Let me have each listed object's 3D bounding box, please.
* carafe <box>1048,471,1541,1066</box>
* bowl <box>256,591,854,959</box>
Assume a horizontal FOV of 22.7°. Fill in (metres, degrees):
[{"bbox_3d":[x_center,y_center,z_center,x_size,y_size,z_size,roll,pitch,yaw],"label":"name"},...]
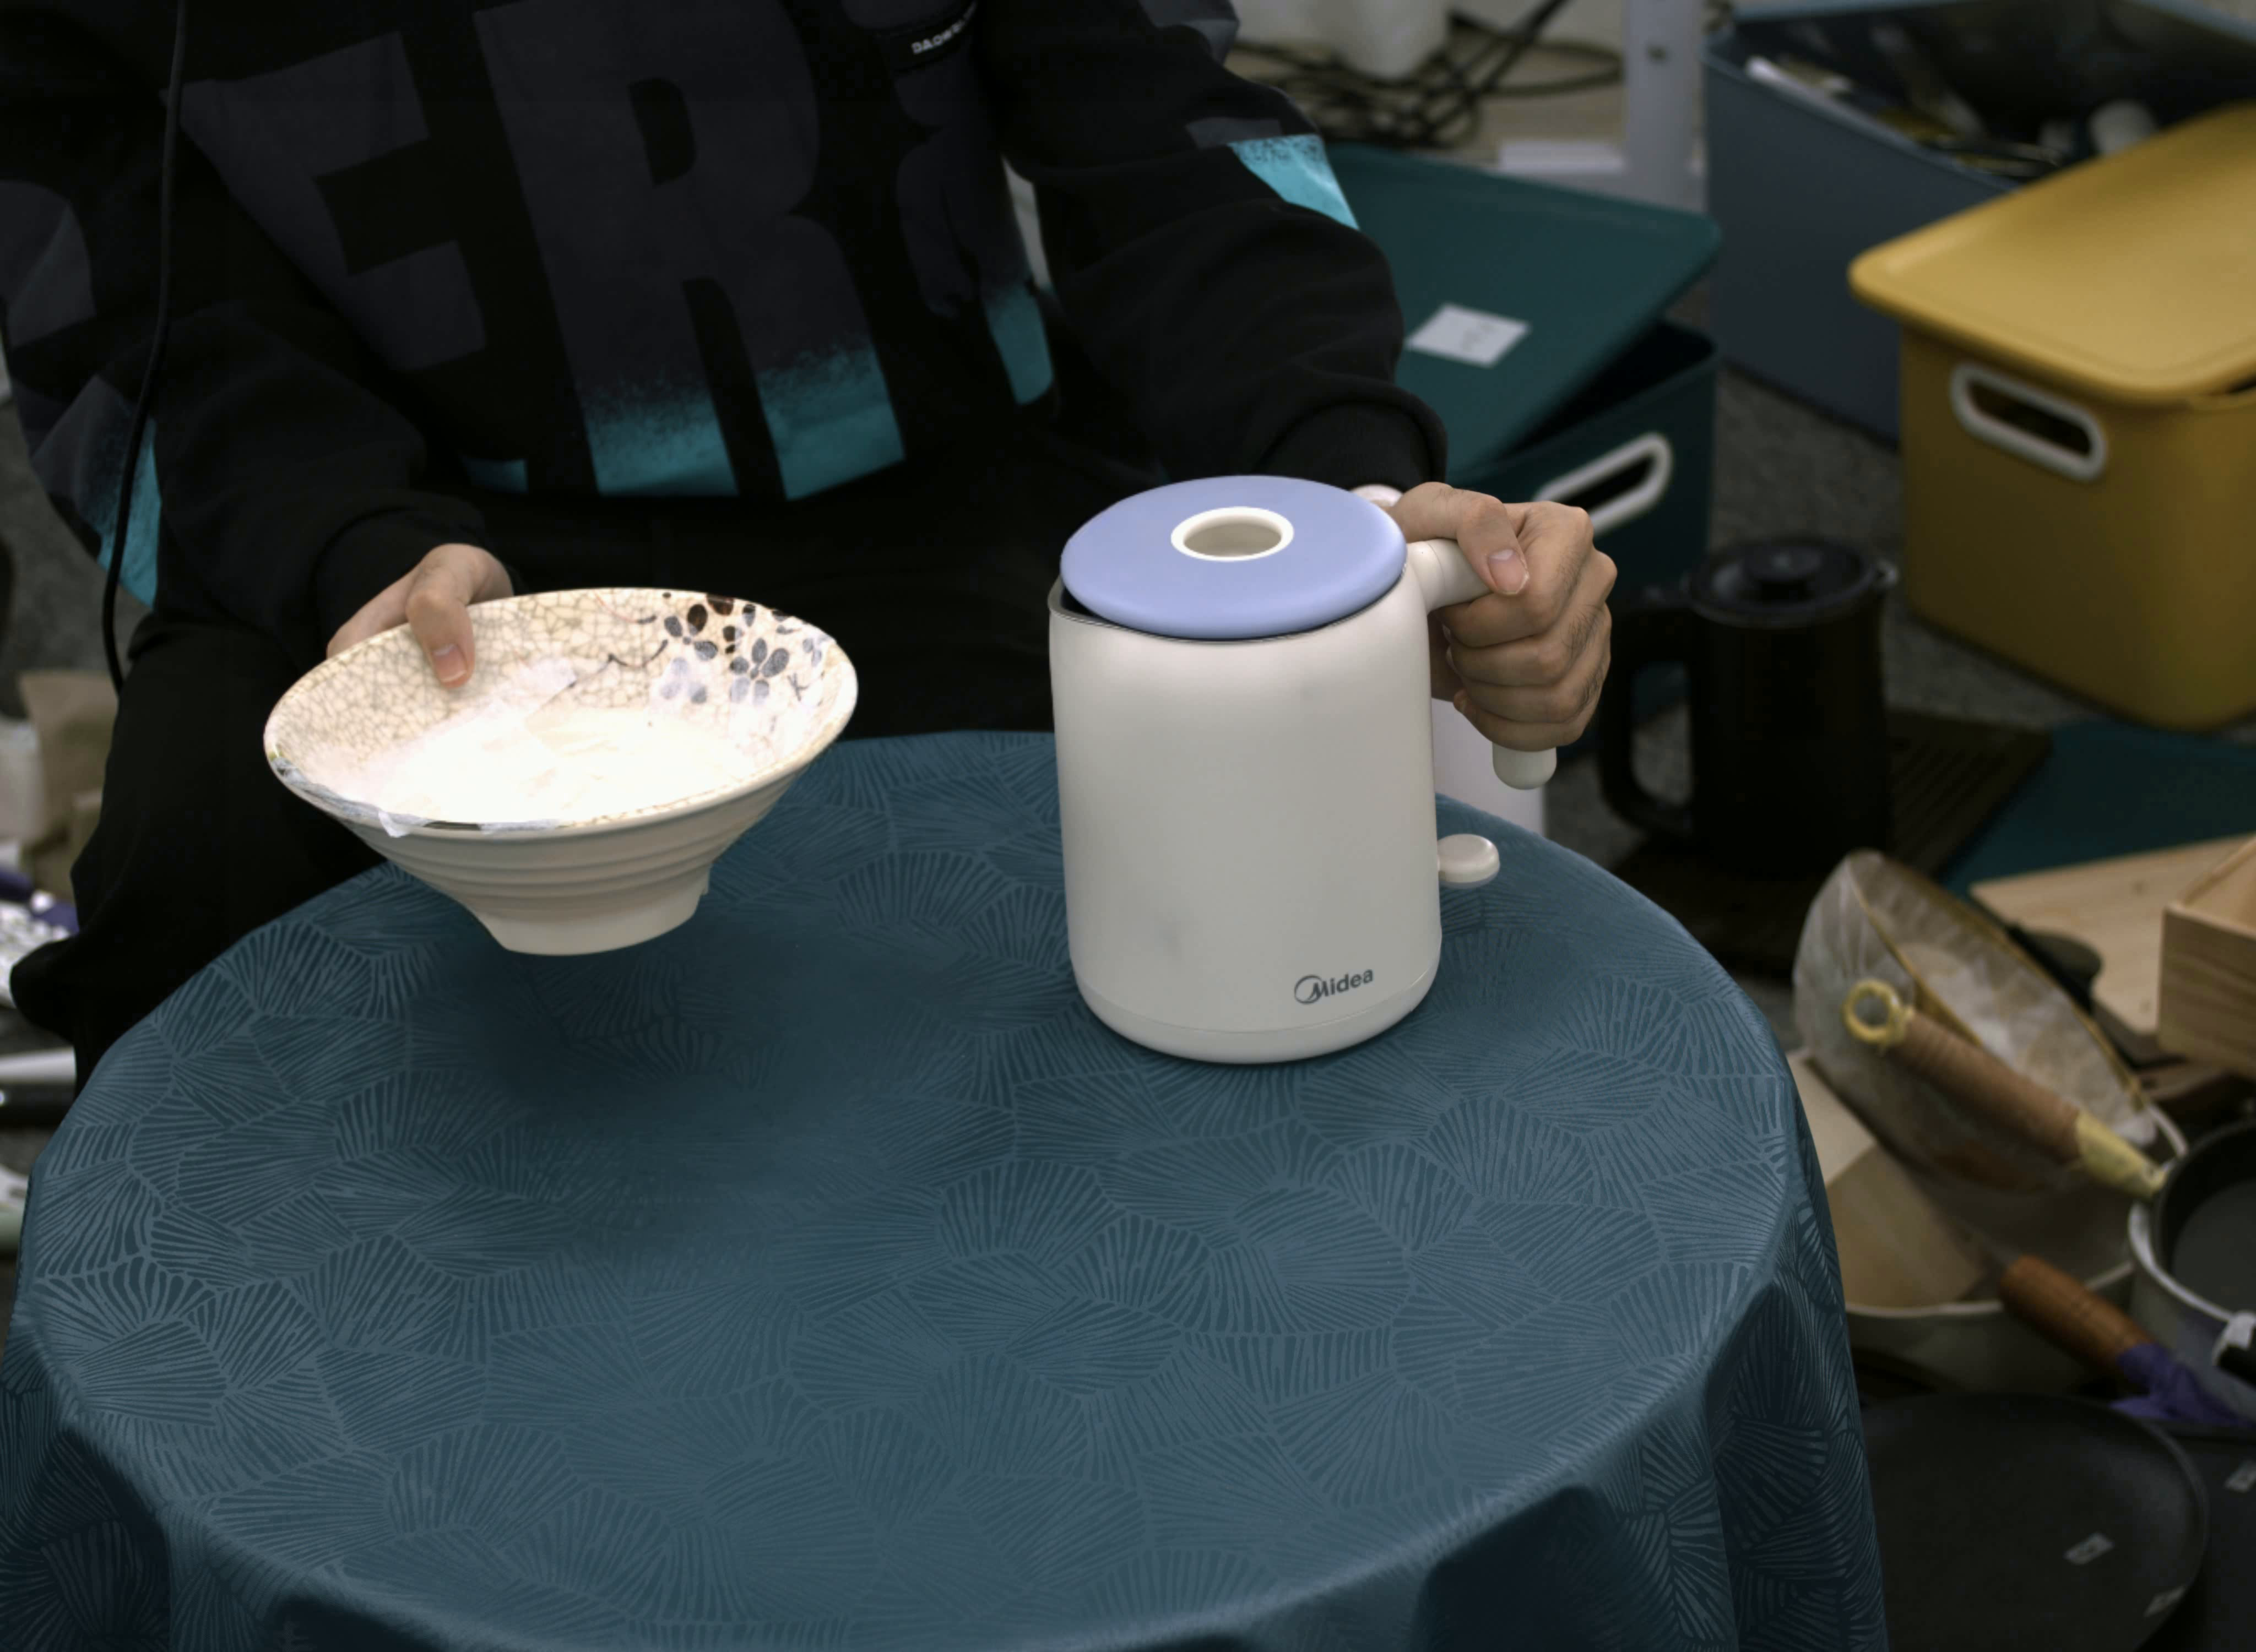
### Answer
[{"bbox_3d":[0.061,-0.026,1.955,0.192,0.180,0.133,-13,29,-24],"label":"carafe"},{"bbox_3d":[-0.194,-0.007,1.930,0.203,0.077,0.207,-1,24,1],"label":"bowl"}]
